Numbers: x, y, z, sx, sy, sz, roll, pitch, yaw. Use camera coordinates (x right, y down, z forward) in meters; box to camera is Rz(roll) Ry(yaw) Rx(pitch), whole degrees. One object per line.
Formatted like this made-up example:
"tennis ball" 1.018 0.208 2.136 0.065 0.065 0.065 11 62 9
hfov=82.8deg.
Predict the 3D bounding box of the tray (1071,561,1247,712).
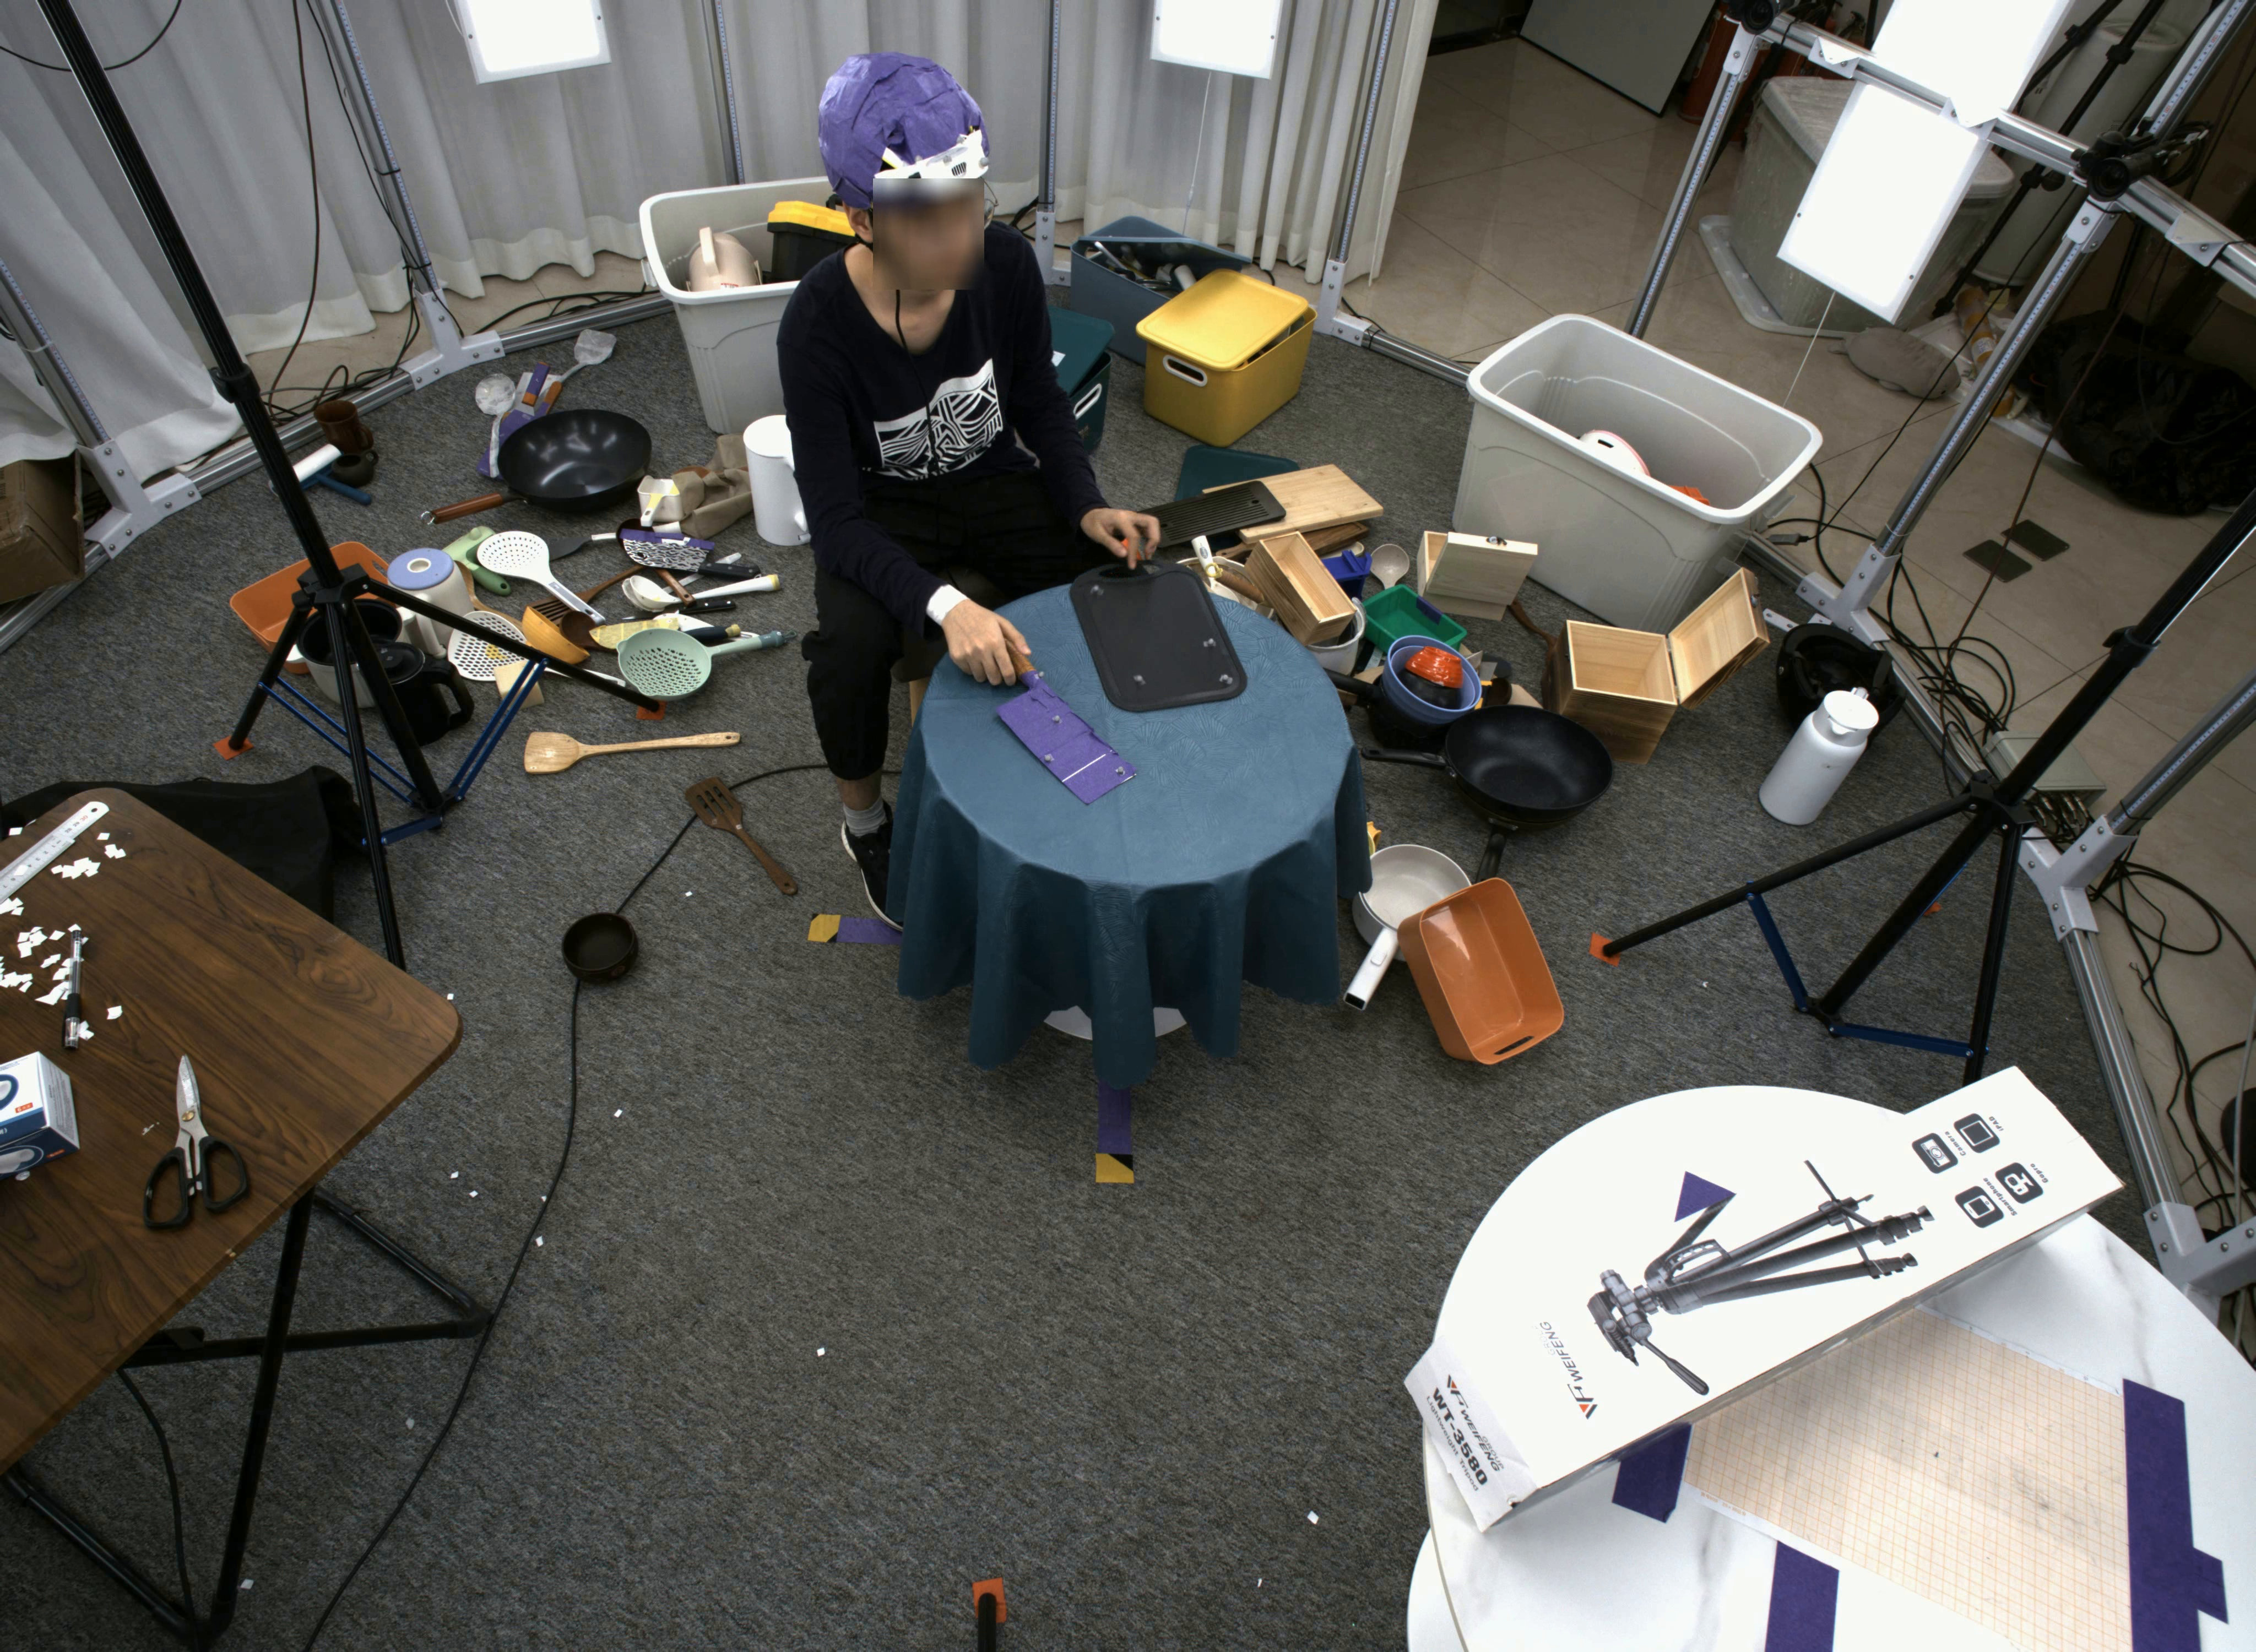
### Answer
"tray" 0.039 -0.293 1.920 0.211 0.009 0.333 -10 50 -12

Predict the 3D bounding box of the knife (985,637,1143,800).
"knife" -0.117 -0.152 1.774 0.104 0.031 0.320 -31 58 -27
